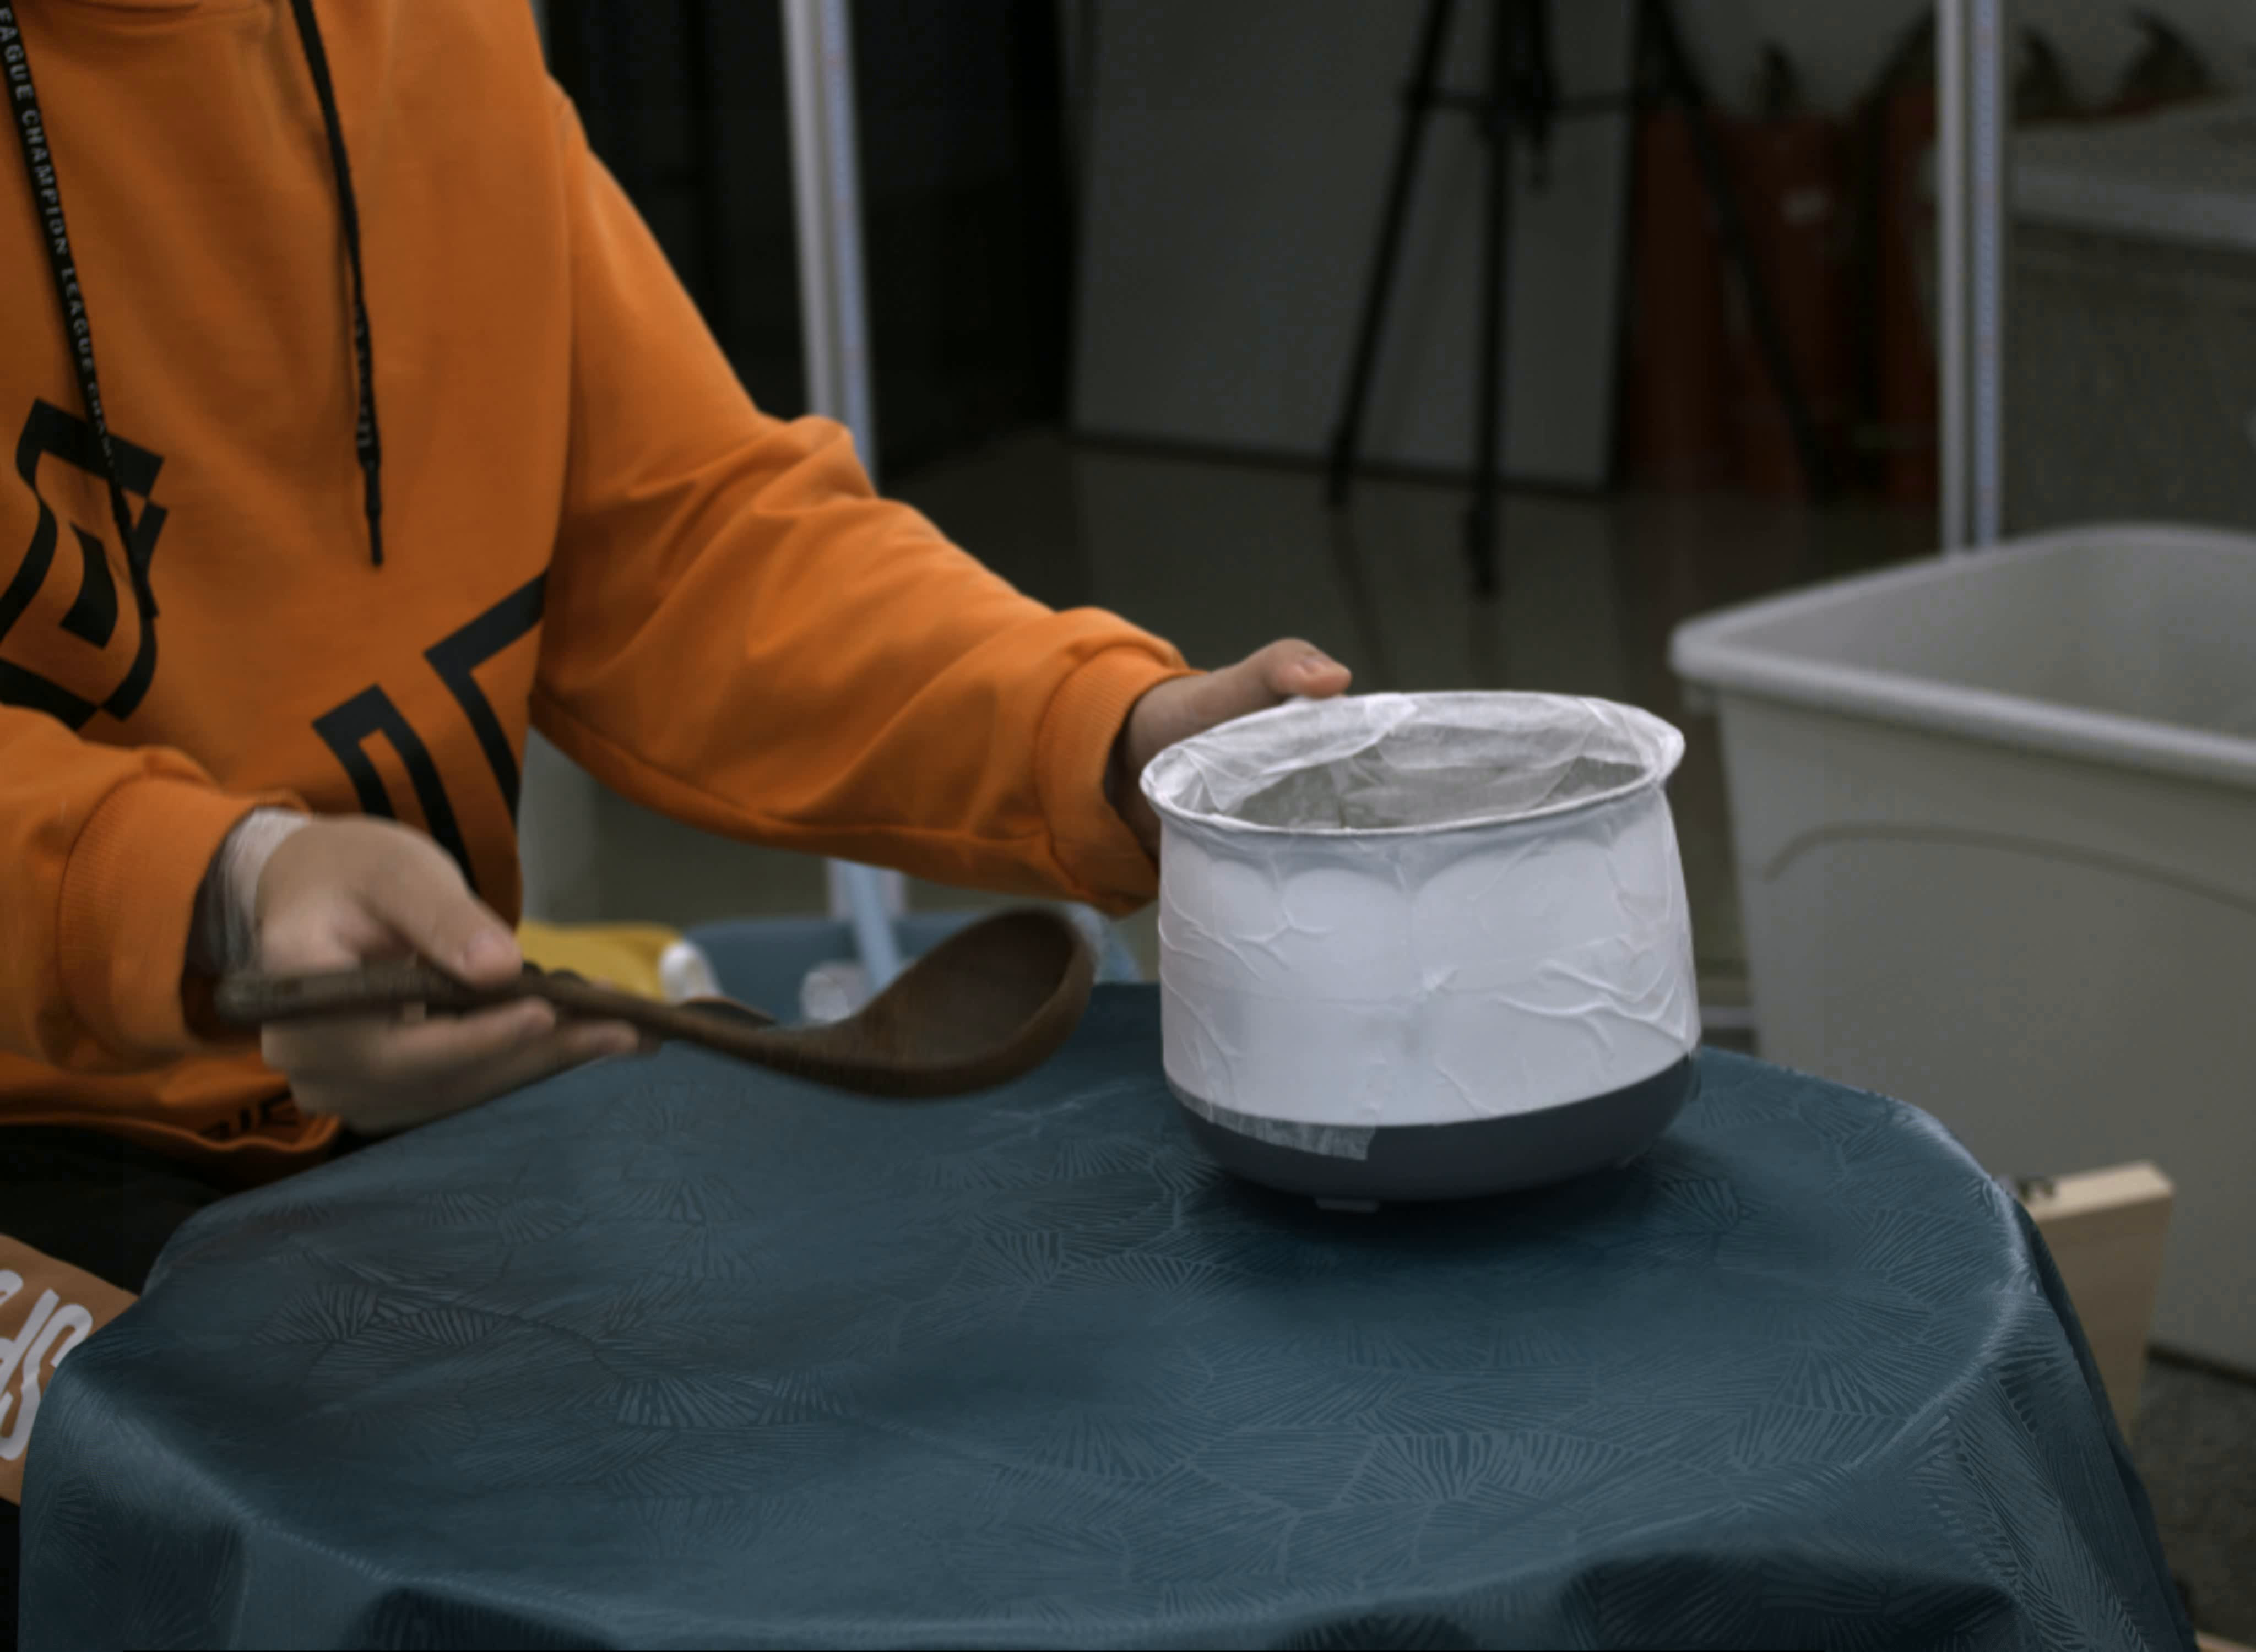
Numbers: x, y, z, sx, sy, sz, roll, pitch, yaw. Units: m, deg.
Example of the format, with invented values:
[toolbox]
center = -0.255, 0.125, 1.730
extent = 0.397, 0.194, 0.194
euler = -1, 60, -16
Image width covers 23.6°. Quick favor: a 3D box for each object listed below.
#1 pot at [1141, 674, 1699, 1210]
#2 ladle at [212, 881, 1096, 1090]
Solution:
[pot]
center = 0.087, 0.031, 1.769
extent = 0.175, 0.138, 0.236
euler = -9, 14, -16
[ladle]
center = -0.134, 0.034, 1.591
extent = 0.268, 0.072, 0.077
euler = 10, 6, -30
